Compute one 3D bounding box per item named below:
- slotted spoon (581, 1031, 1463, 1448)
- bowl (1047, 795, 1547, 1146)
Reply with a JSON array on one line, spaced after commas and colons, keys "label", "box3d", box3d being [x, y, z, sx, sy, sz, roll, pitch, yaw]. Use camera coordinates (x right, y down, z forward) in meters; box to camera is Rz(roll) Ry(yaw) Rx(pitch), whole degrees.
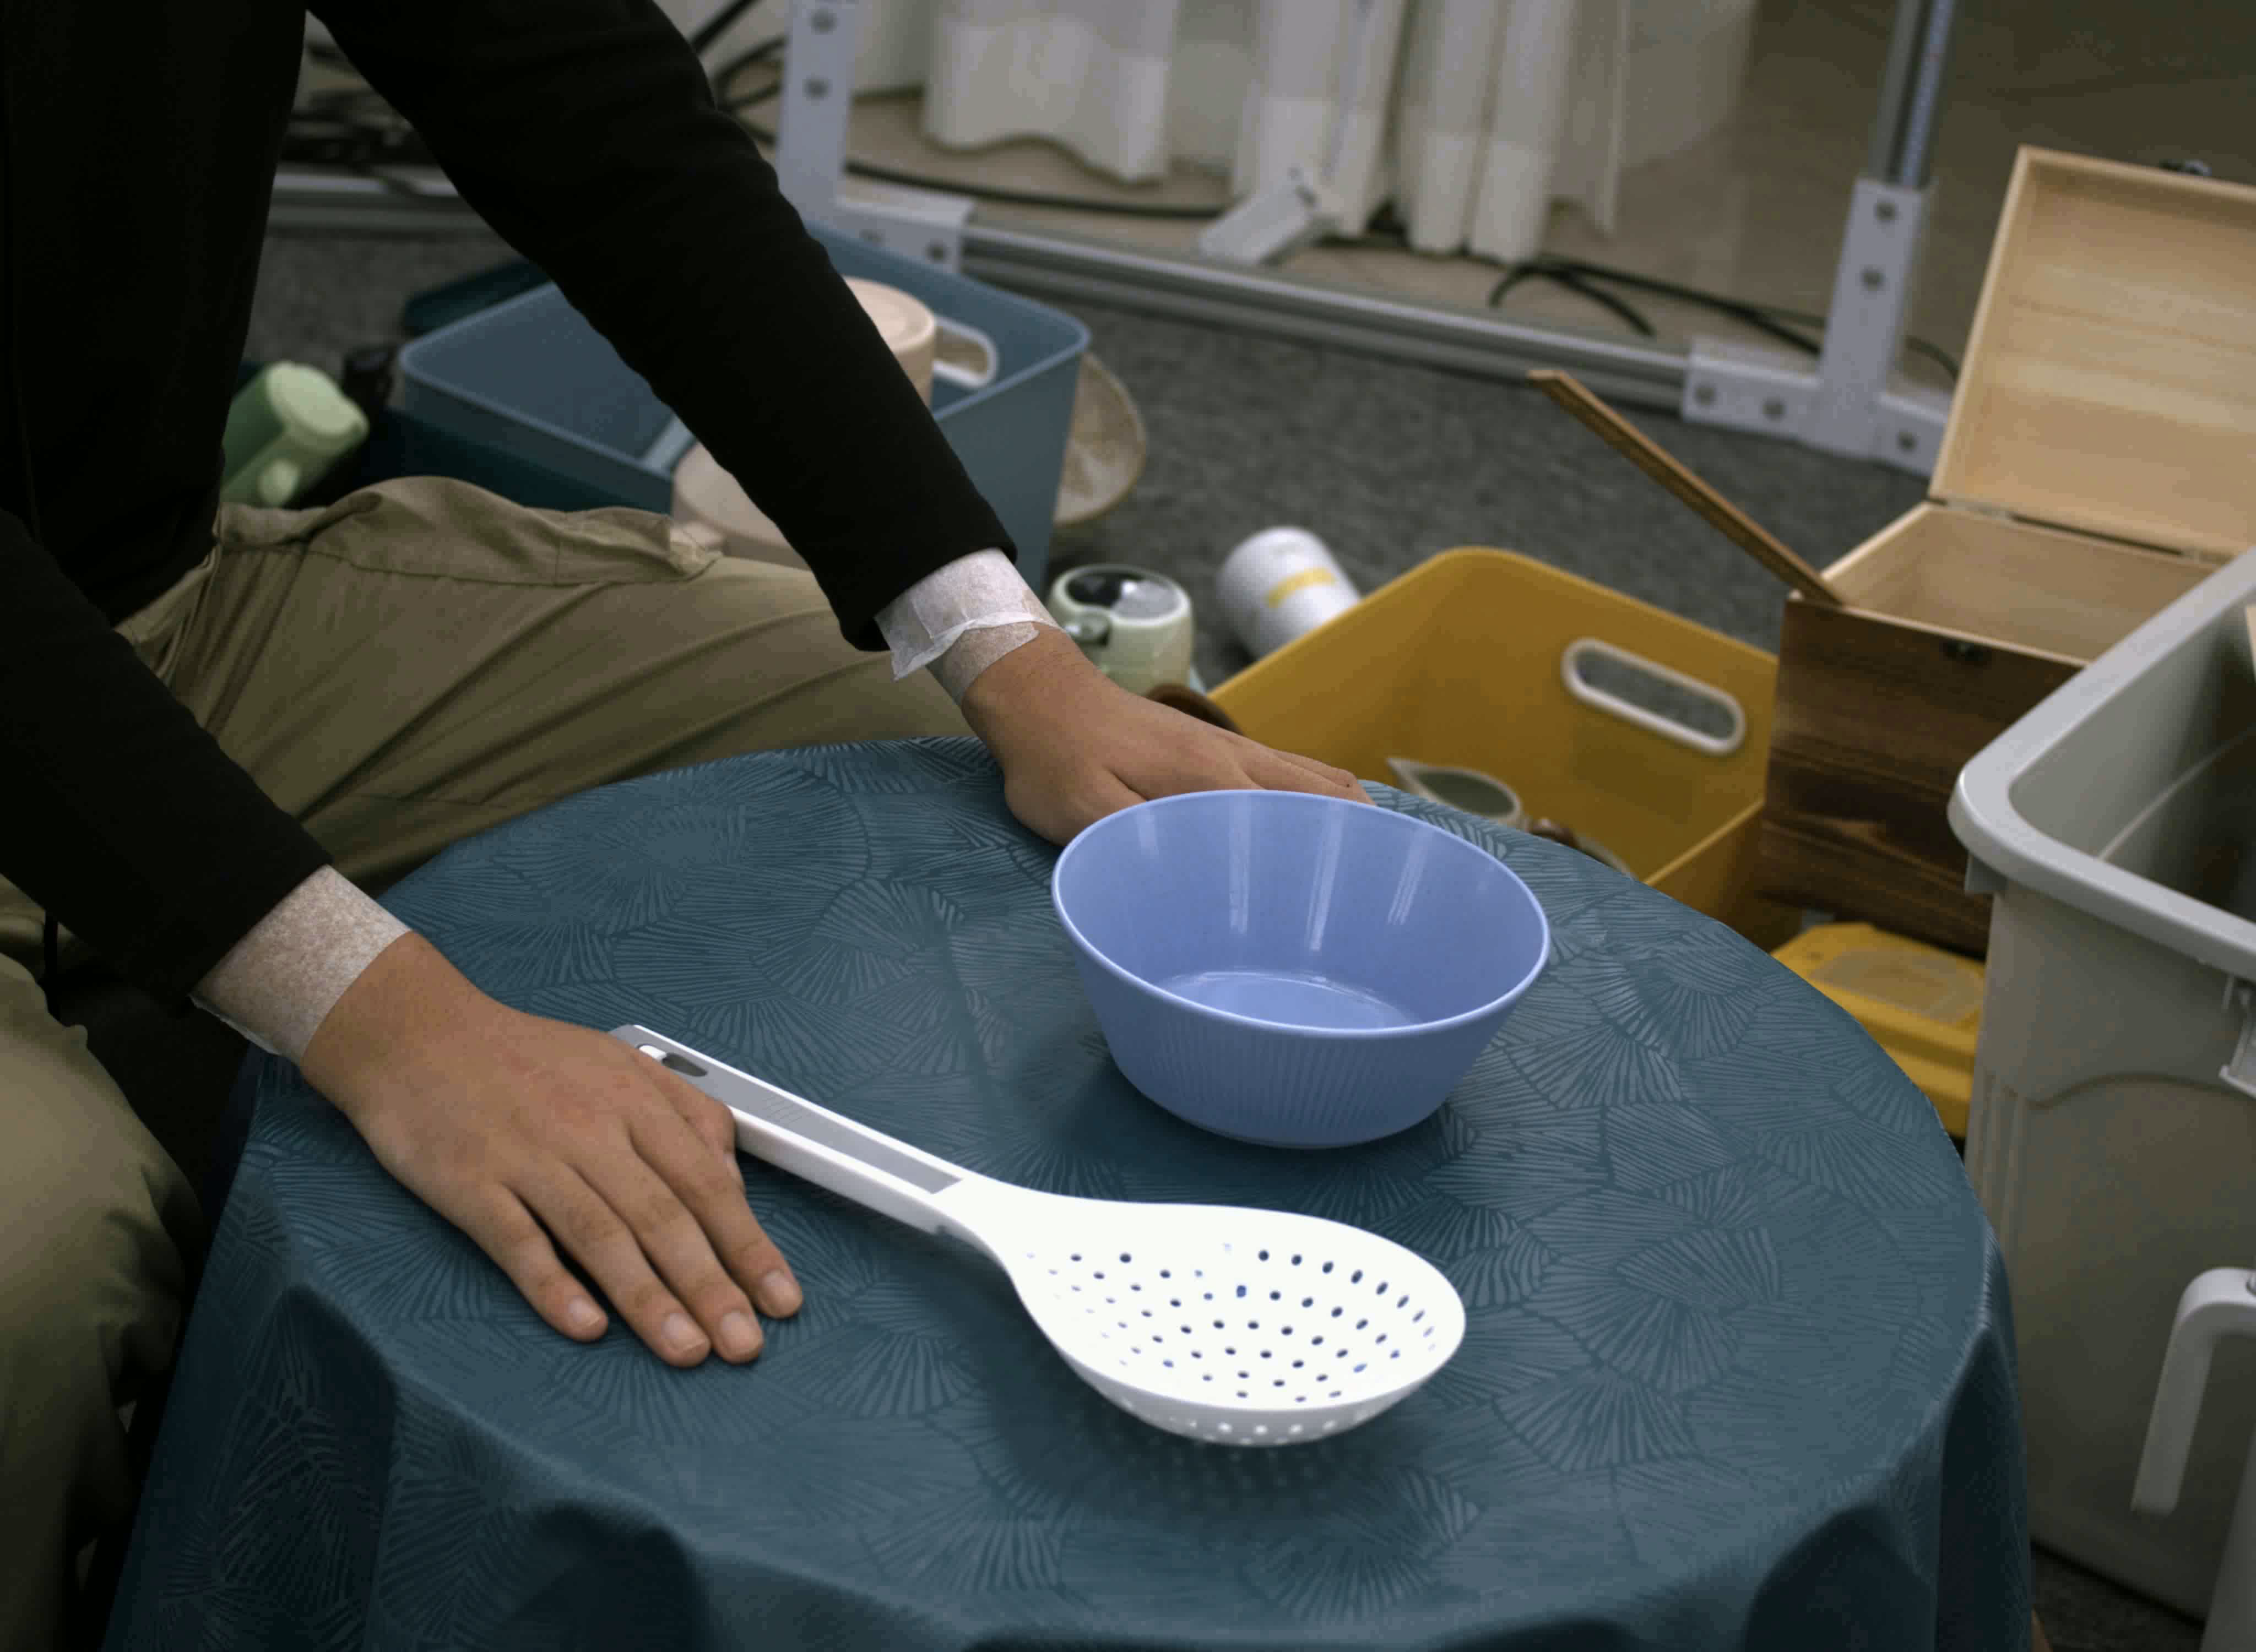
[{"label": "slotted spoon", "box3d": [-0.047, 0.128, 1.734, 0.352, 0.045, 0.135, 24, 31, 33]}, {"label": "bowl", "box3d": [0.056, 0.056, 1.871, 0.175, 0.070, 0.177, 4, 26, -2]}]
